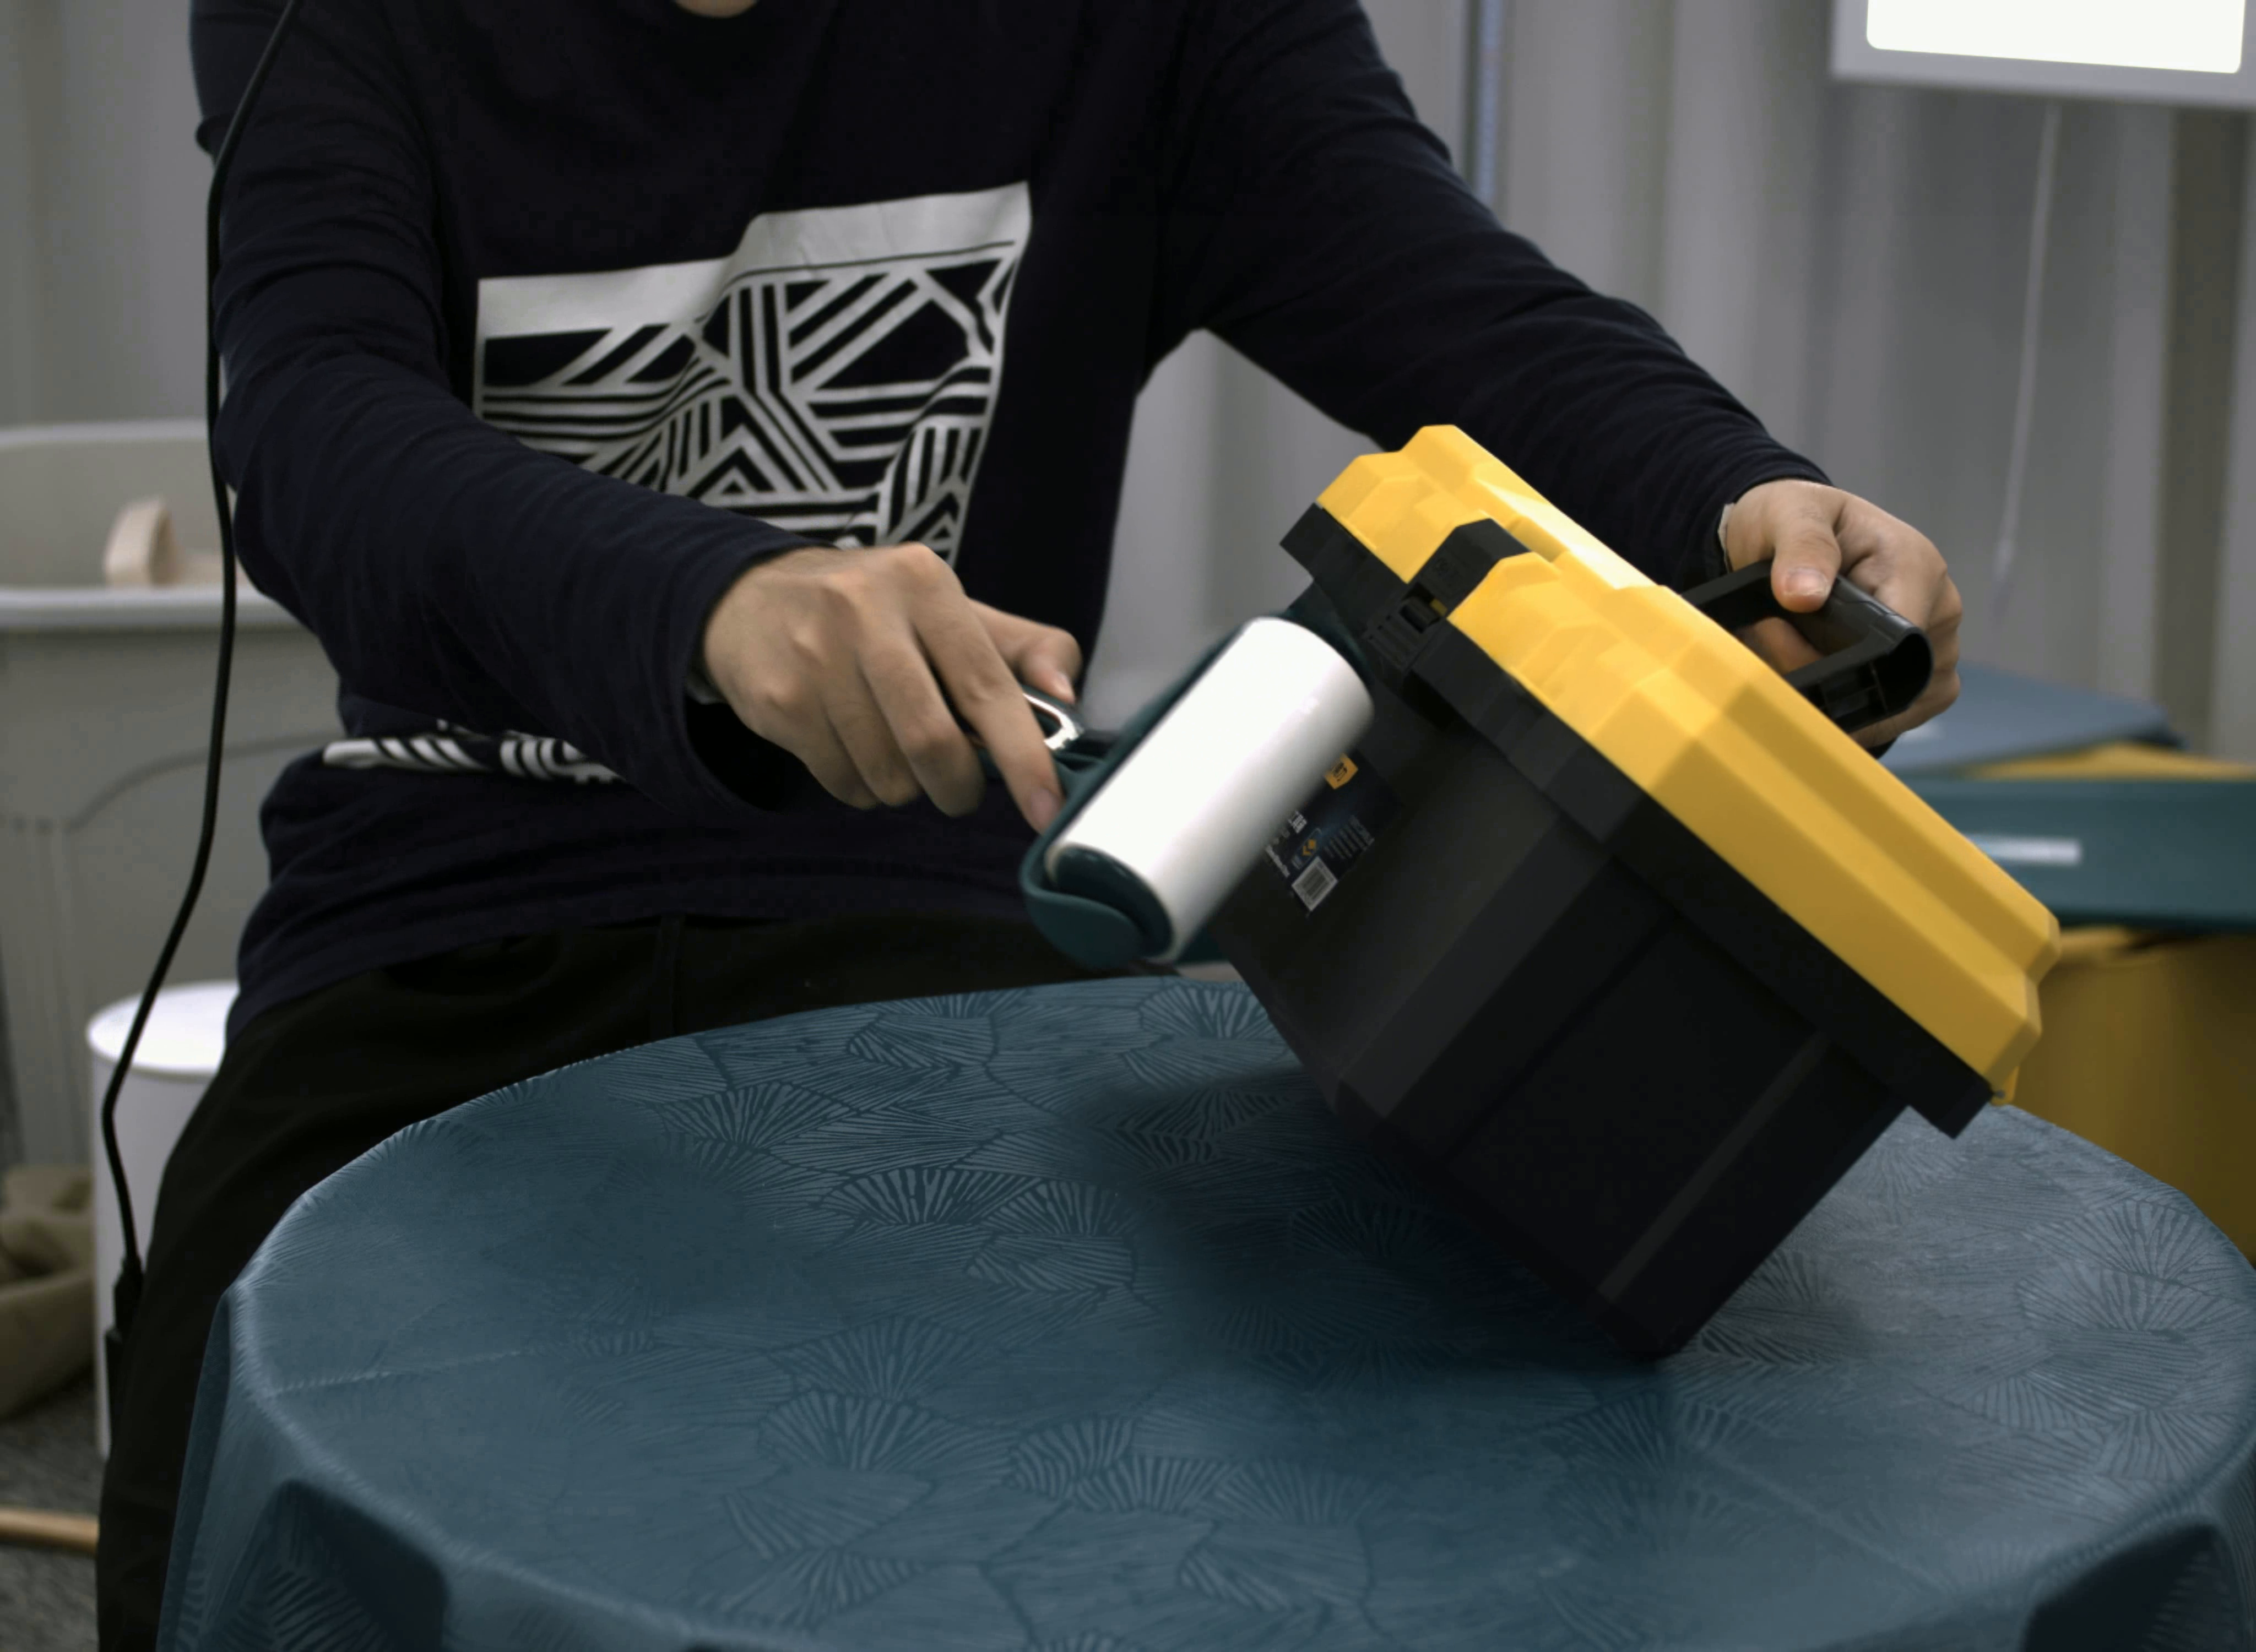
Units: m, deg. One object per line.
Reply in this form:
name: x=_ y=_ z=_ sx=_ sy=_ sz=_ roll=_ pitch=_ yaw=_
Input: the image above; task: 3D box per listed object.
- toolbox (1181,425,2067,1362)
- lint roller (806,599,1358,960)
toolbox: x=0.126 y=0.012 z=1.596 sx=0.183 sy=0.173 sz=0.348 roll=39 pitch=4 yaw=-19
lint roller: x=-0.032 y=-0.031 z=1.560 sx=0.178 sy=0.049 sz=0.134 roll=19 pitch=55 yaw=34
